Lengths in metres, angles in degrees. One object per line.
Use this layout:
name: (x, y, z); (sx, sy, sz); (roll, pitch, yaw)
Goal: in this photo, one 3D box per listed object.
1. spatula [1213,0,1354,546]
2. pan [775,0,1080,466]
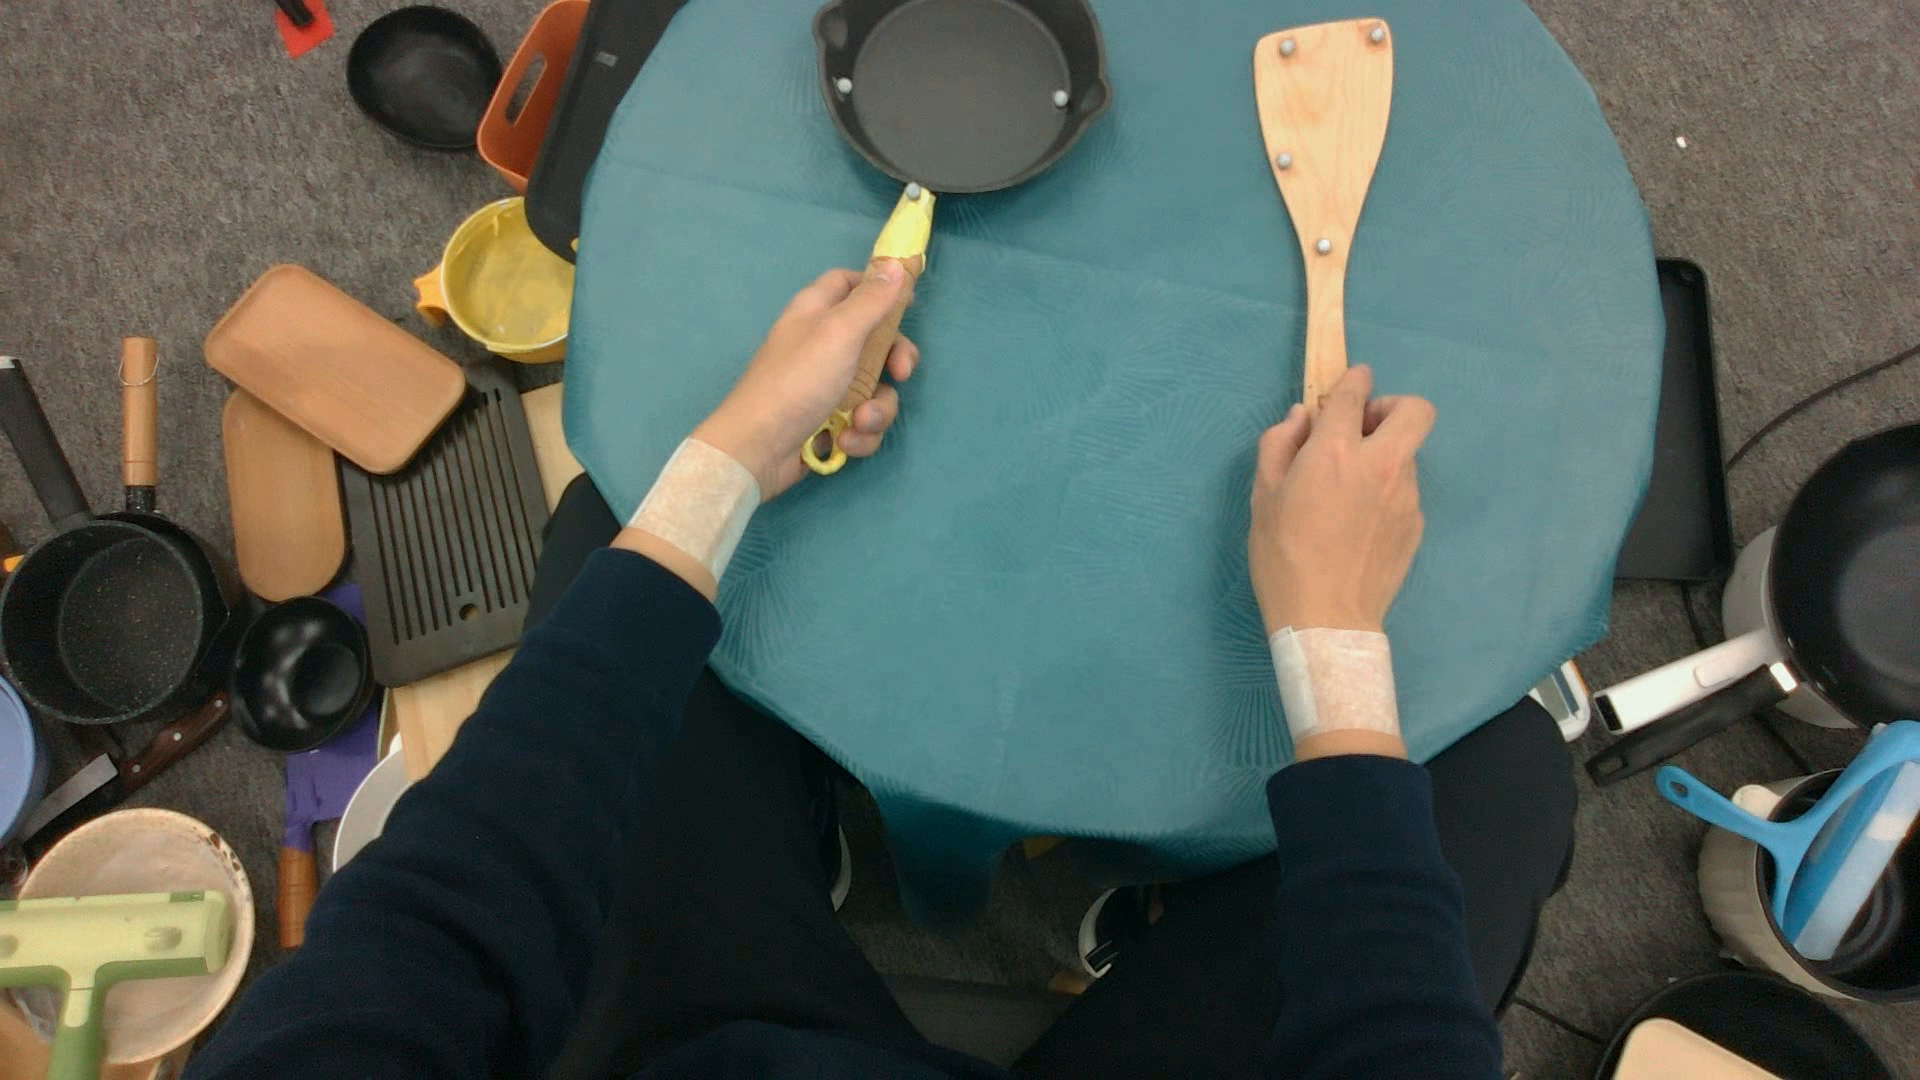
spatula: (0.182, -0.153, 0.747); (0.080, 0.016, 0.328); (0, 71, 4)
pan: (-0.041, -0.187, 0.741); (0.169, 0.049, 0.325); (17, 75, 3)
